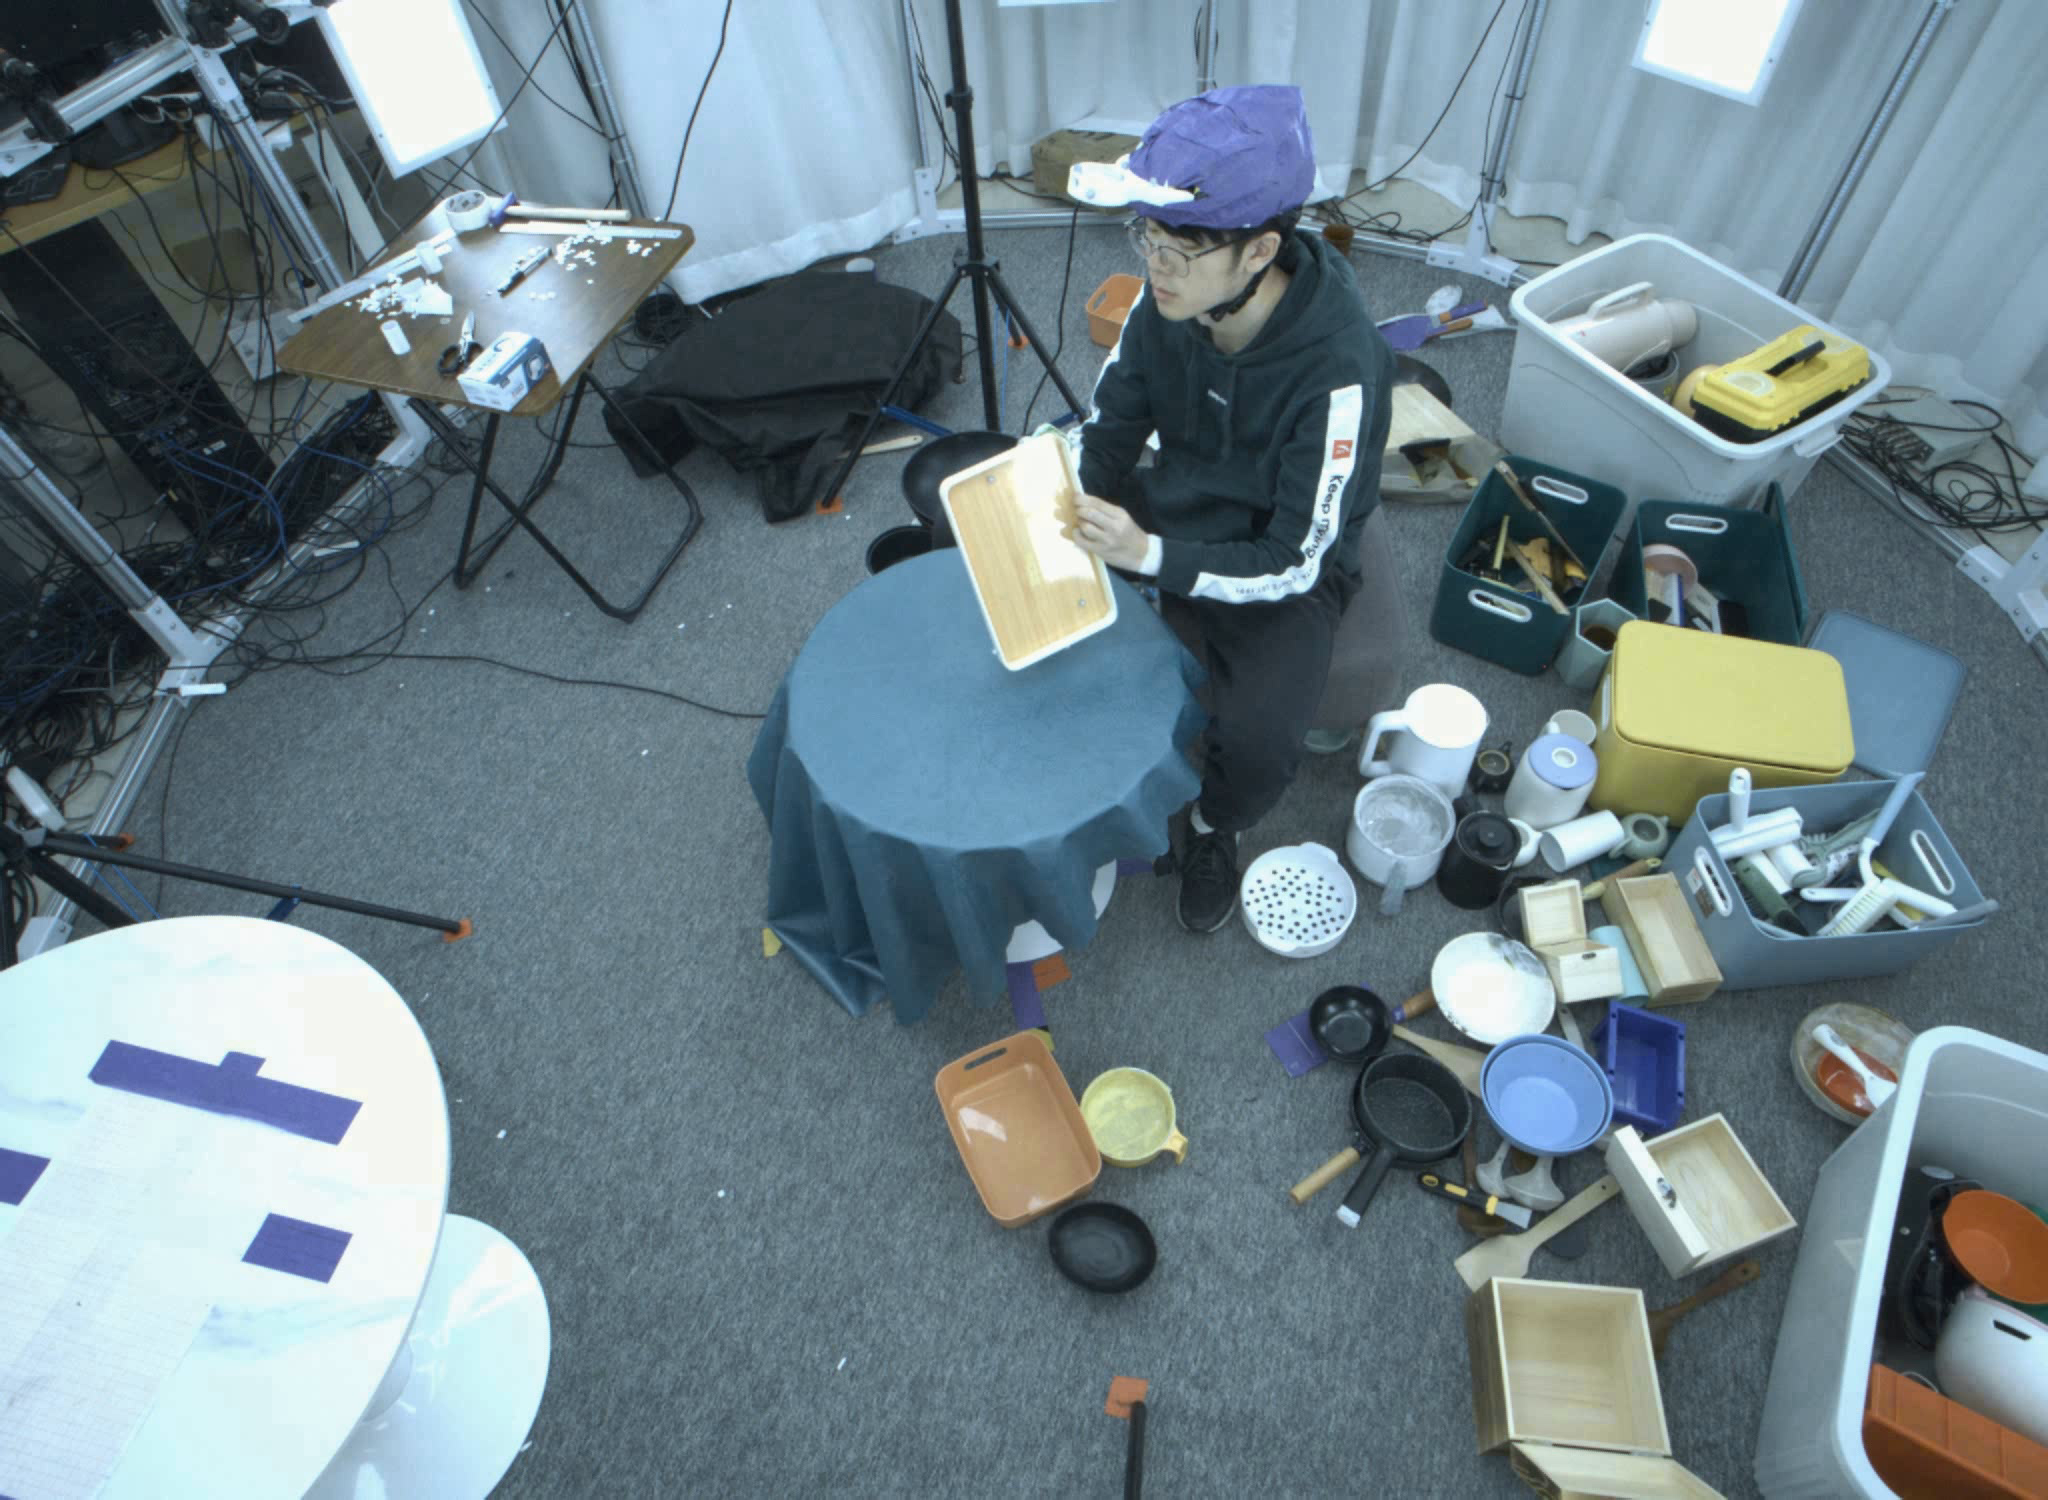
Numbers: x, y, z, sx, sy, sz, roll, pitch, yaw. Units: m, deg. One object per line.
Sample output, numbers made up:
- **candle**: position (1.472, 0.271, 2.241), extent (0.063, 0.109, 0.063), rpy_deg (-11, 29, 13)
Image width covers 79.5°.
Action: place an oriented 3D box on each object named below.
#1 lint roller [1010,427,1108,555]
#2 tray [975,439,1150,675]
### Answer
- **lint roller**: position (0.051, -0.360, 1.756), extent (0.081, 0.186, 0.198), rpy_deg (39, 98, 17)
- **tray**: position (0.058, -0.267, 1.711), extent (0.193, 0.305, 0.027), rpy_deg (-26, 33, -11)
